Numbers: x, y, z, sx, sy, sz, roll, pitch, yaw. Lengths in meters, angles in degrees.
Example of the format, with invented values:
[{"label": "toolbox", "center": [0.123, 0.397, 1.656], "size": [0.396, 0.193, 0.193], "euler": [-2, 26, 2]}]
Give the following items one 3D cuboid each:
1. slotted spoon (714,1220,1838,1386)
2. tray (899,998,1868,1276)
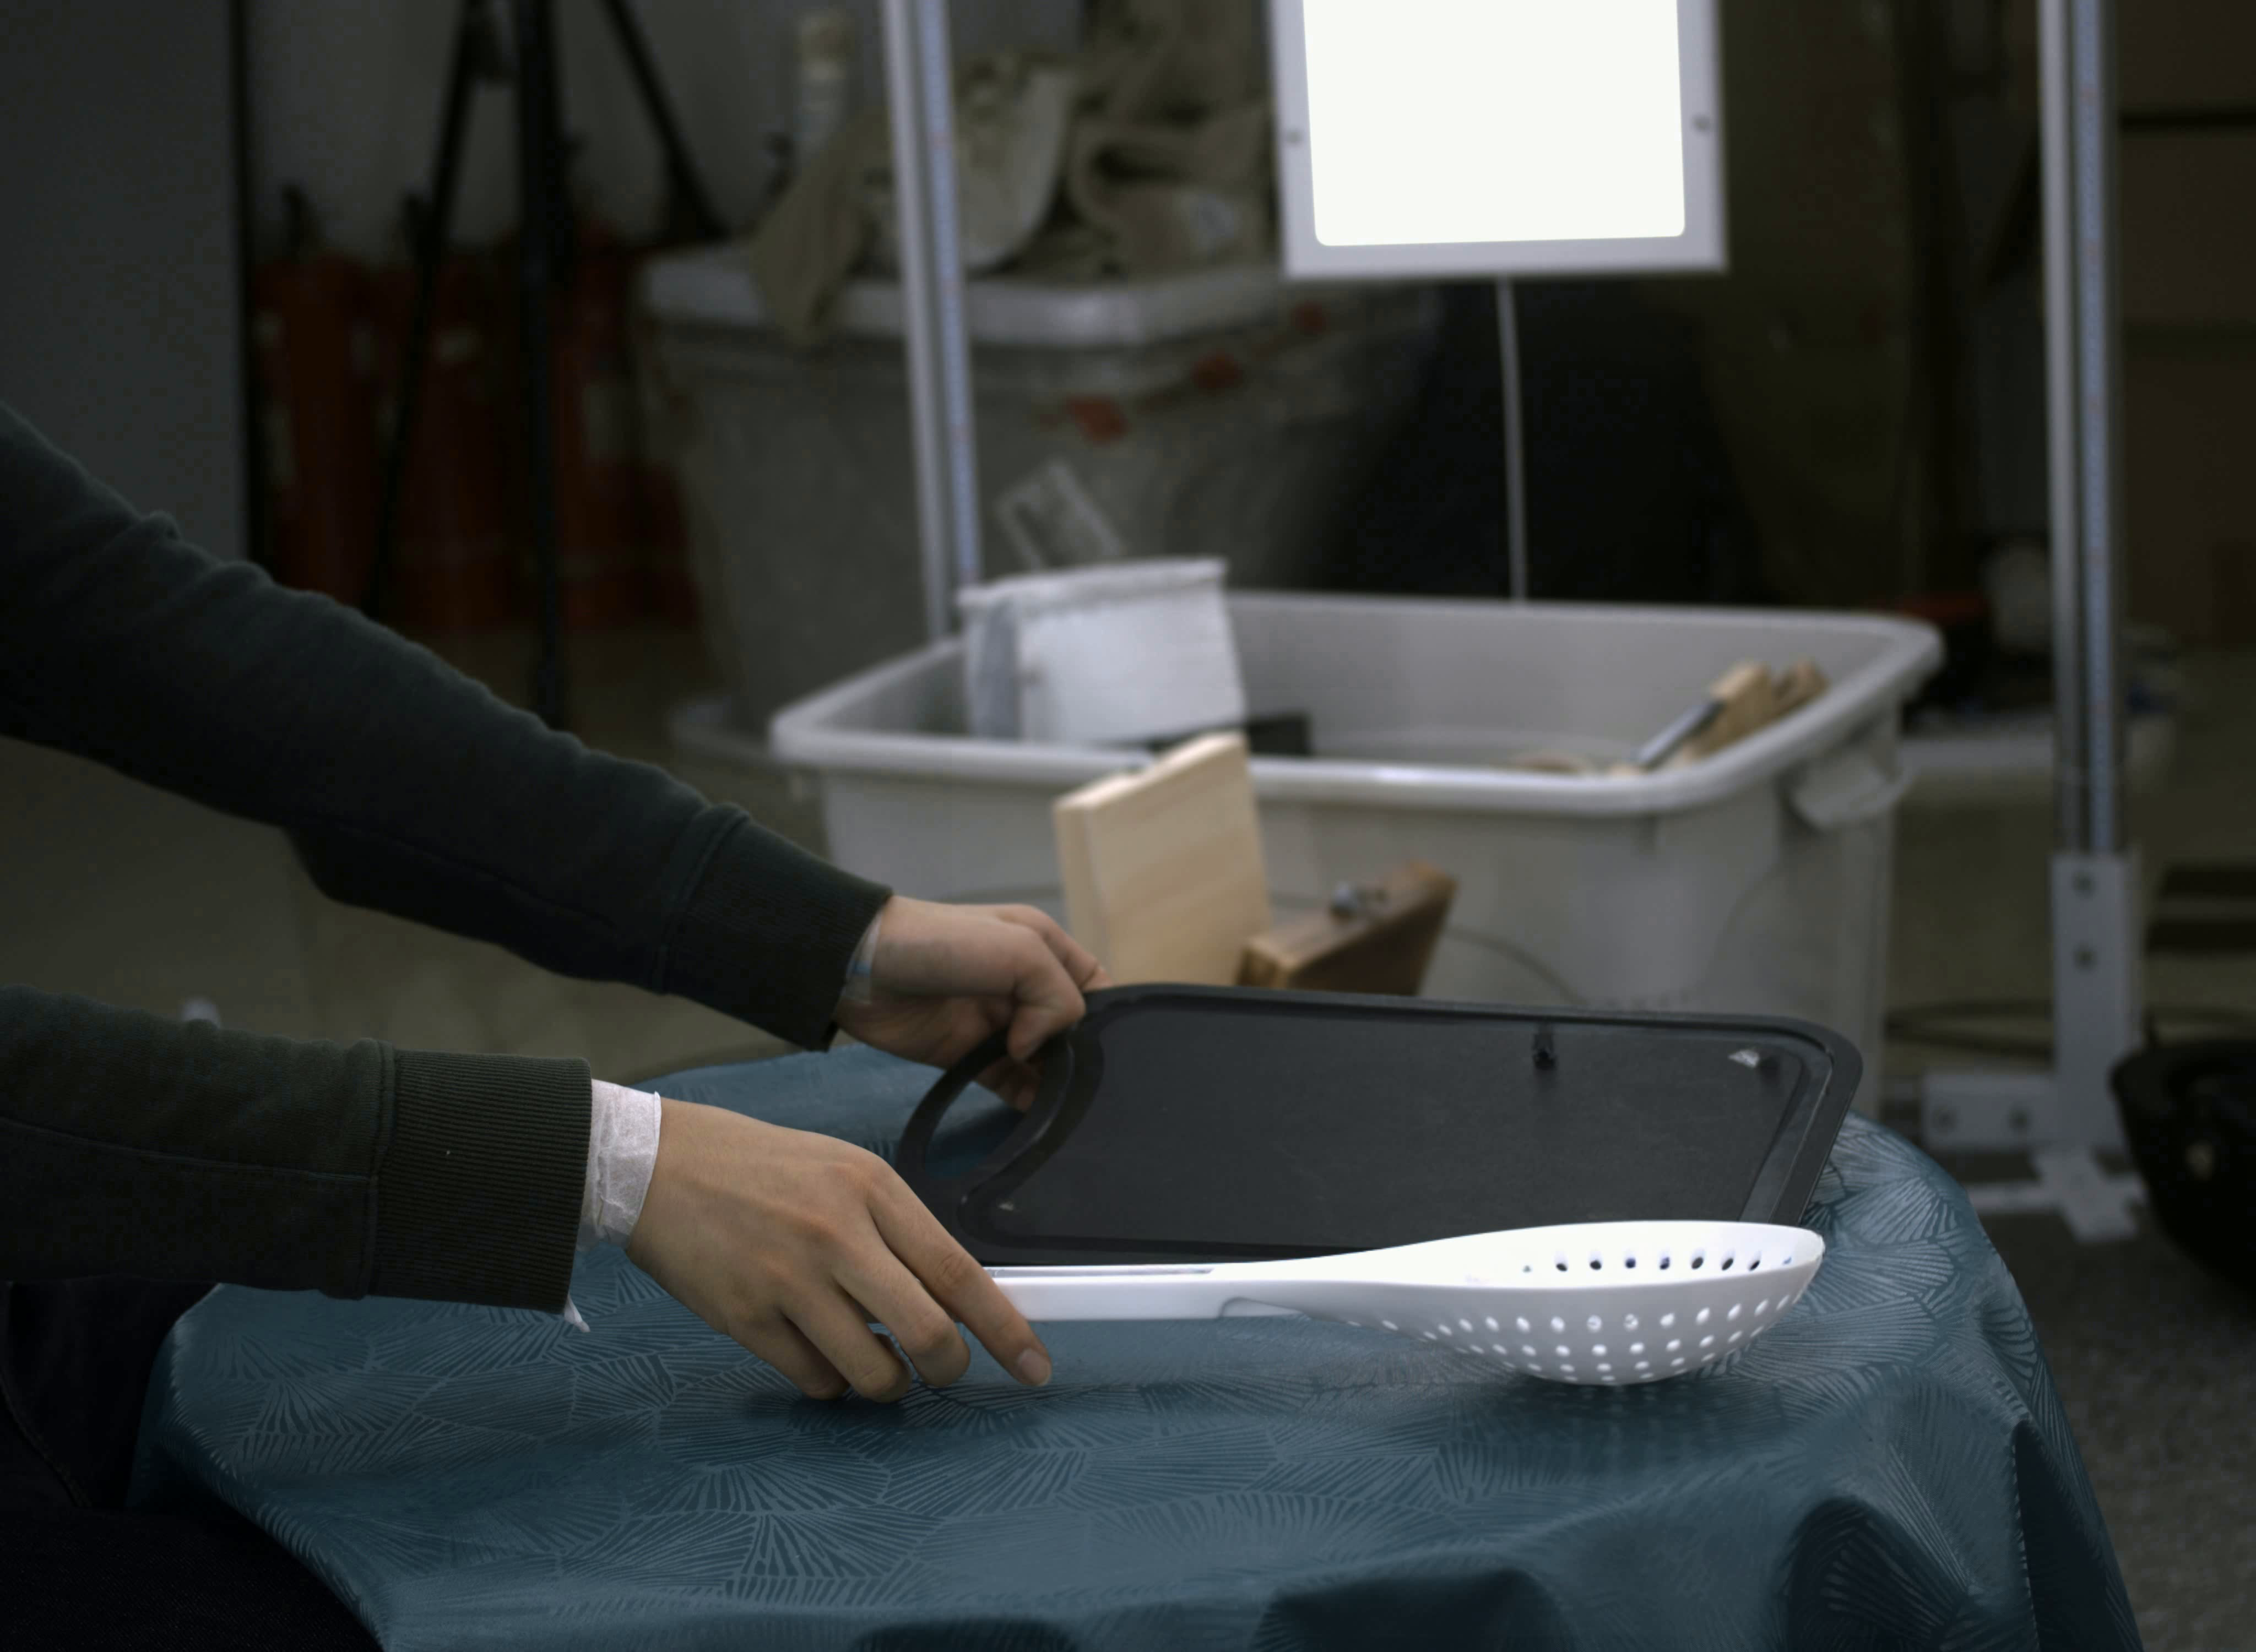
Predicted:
[{"label": "slotted spoon", "center": [0.043, 0.141, 1.690], "size": [0.352, 0.046, 0.134], "euler": [2, 4, 14]}, {"label": "tray", "center": [0.082, 0.104, 1.881], "size": [0.330, 0.010, 0.207], "euler": [1, 23, 20]}]
